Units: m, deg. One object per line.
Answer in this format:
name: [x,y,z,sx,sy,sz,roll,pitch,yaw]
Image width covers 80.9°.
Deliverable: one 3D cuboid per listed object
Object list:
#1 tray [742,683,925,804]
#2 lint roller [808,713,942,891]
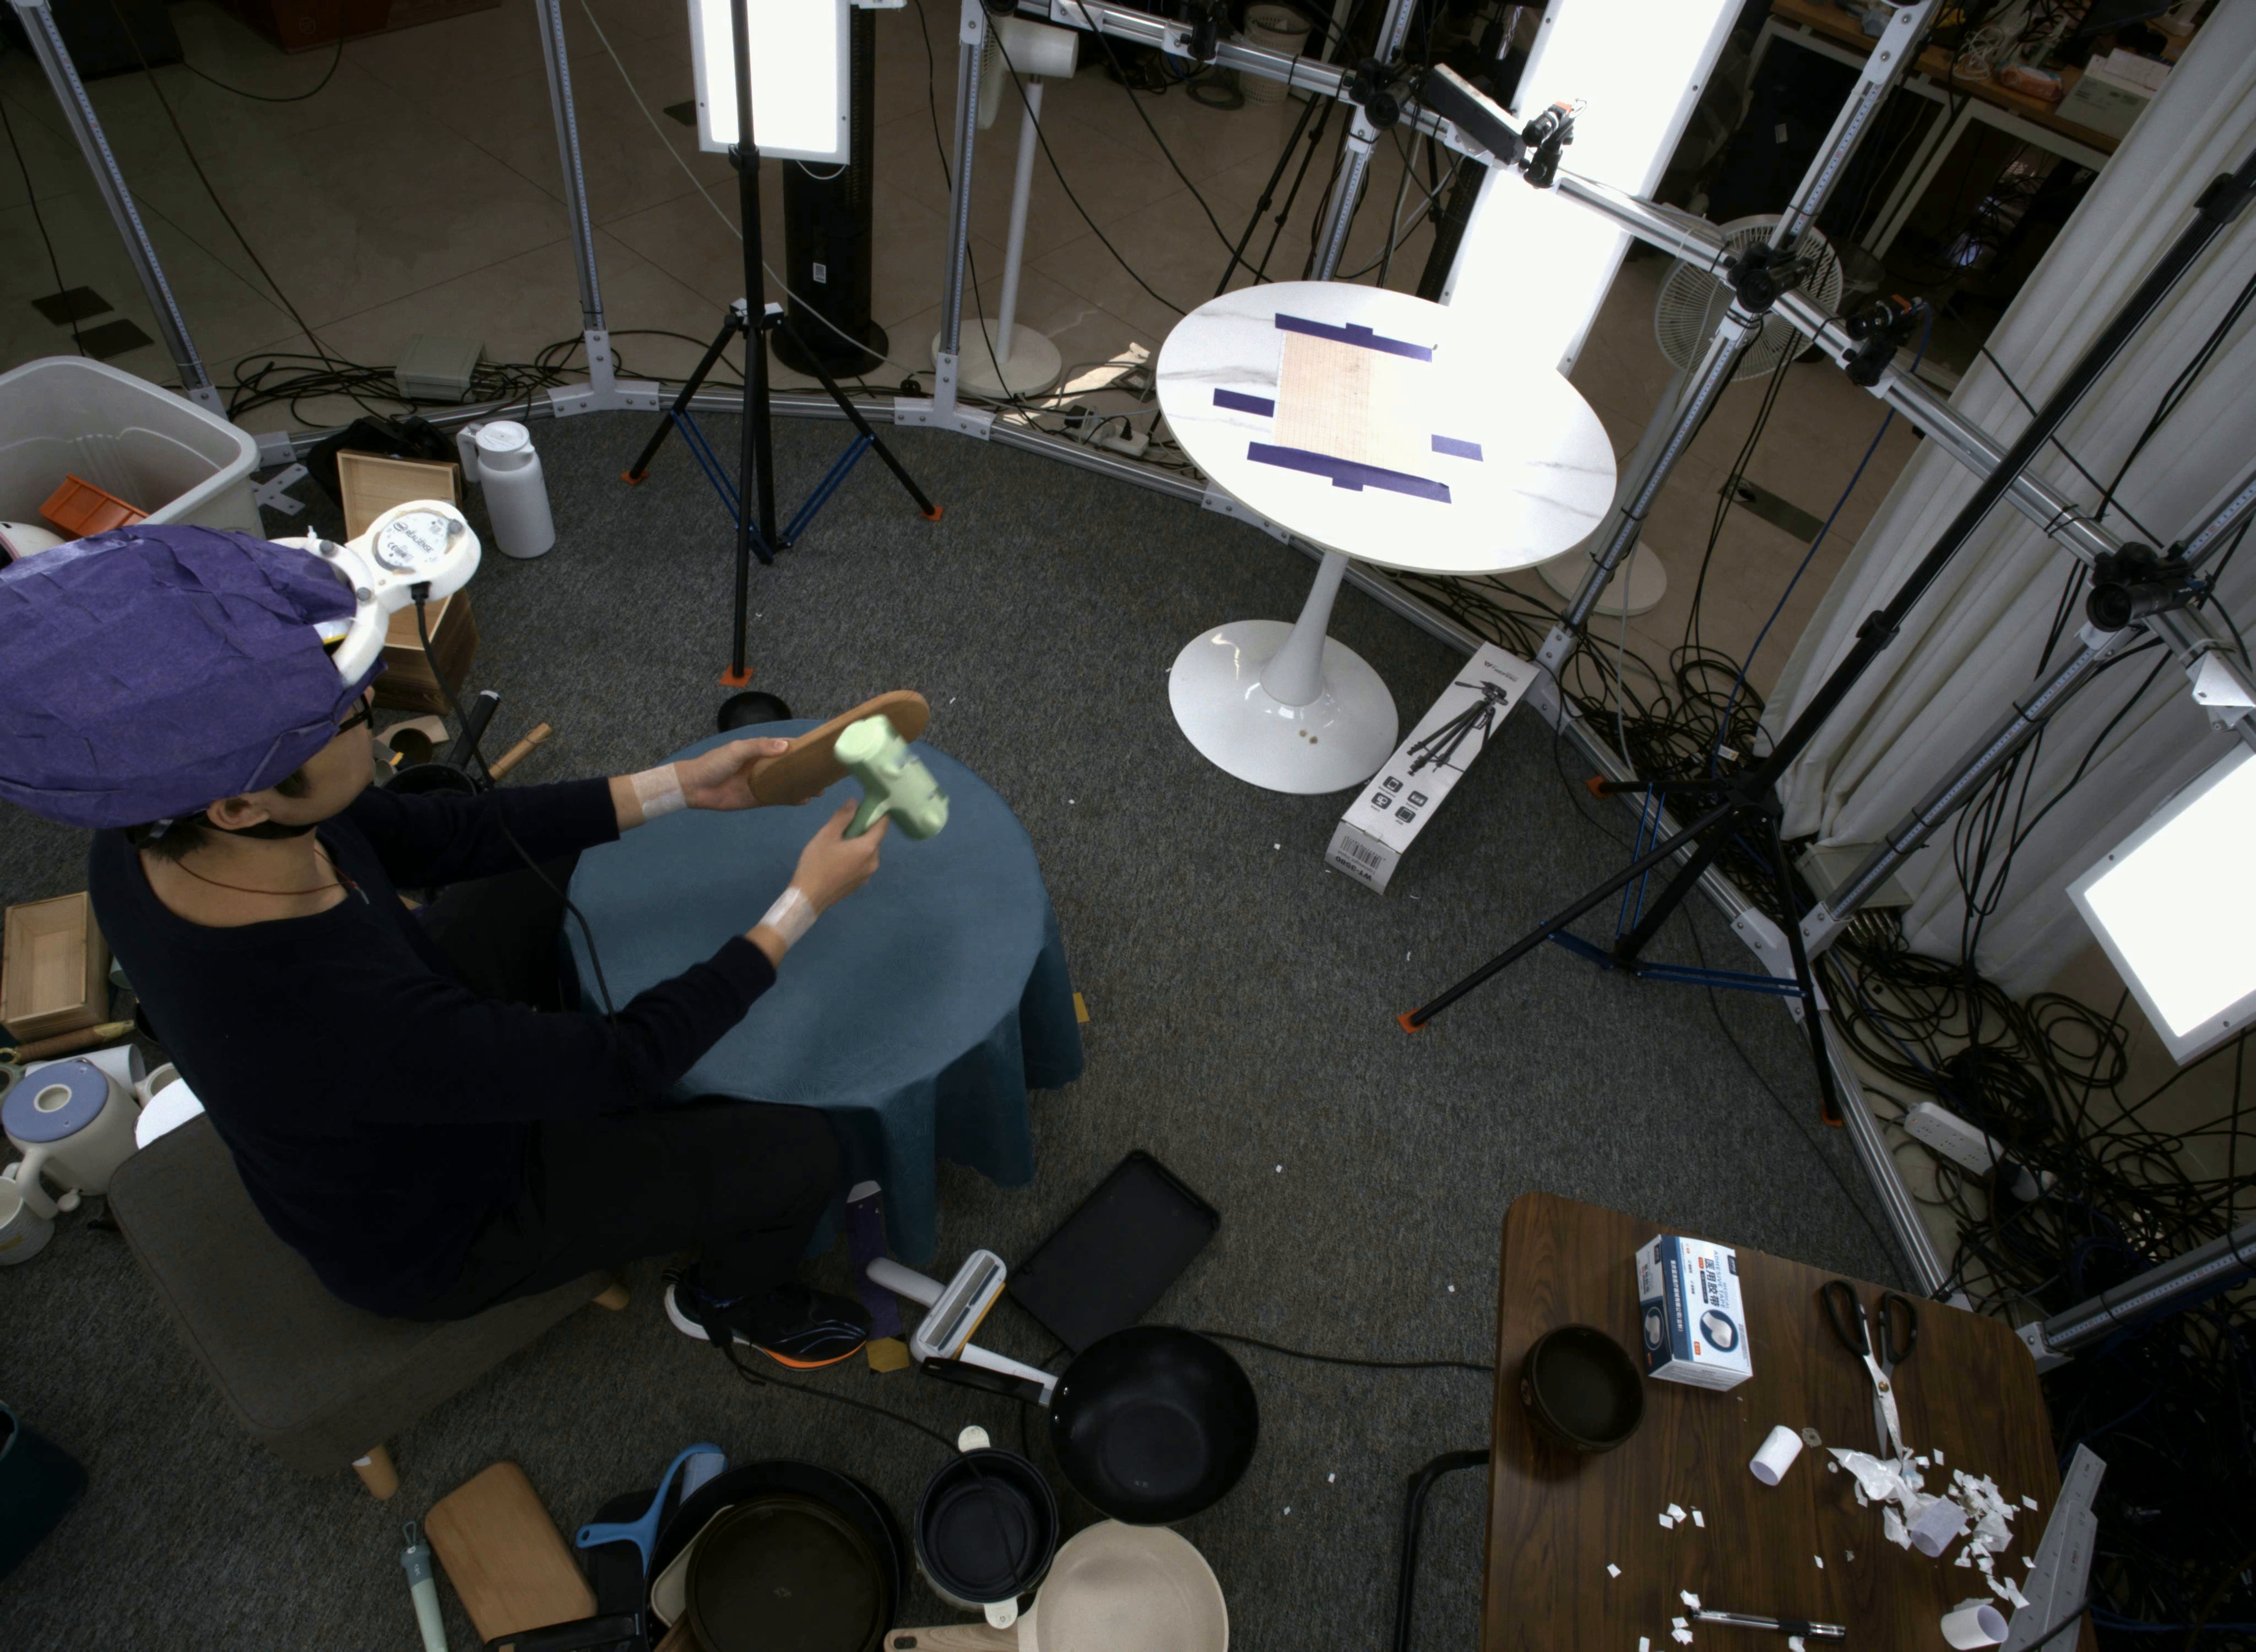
tray: [-0.341,-0.095,1.512,0.230,0.104,0.020,-30,63,-7]
lint roller: [-0.290,-0.001,1.470,0.079,0.205,0.183,14,67,25]
